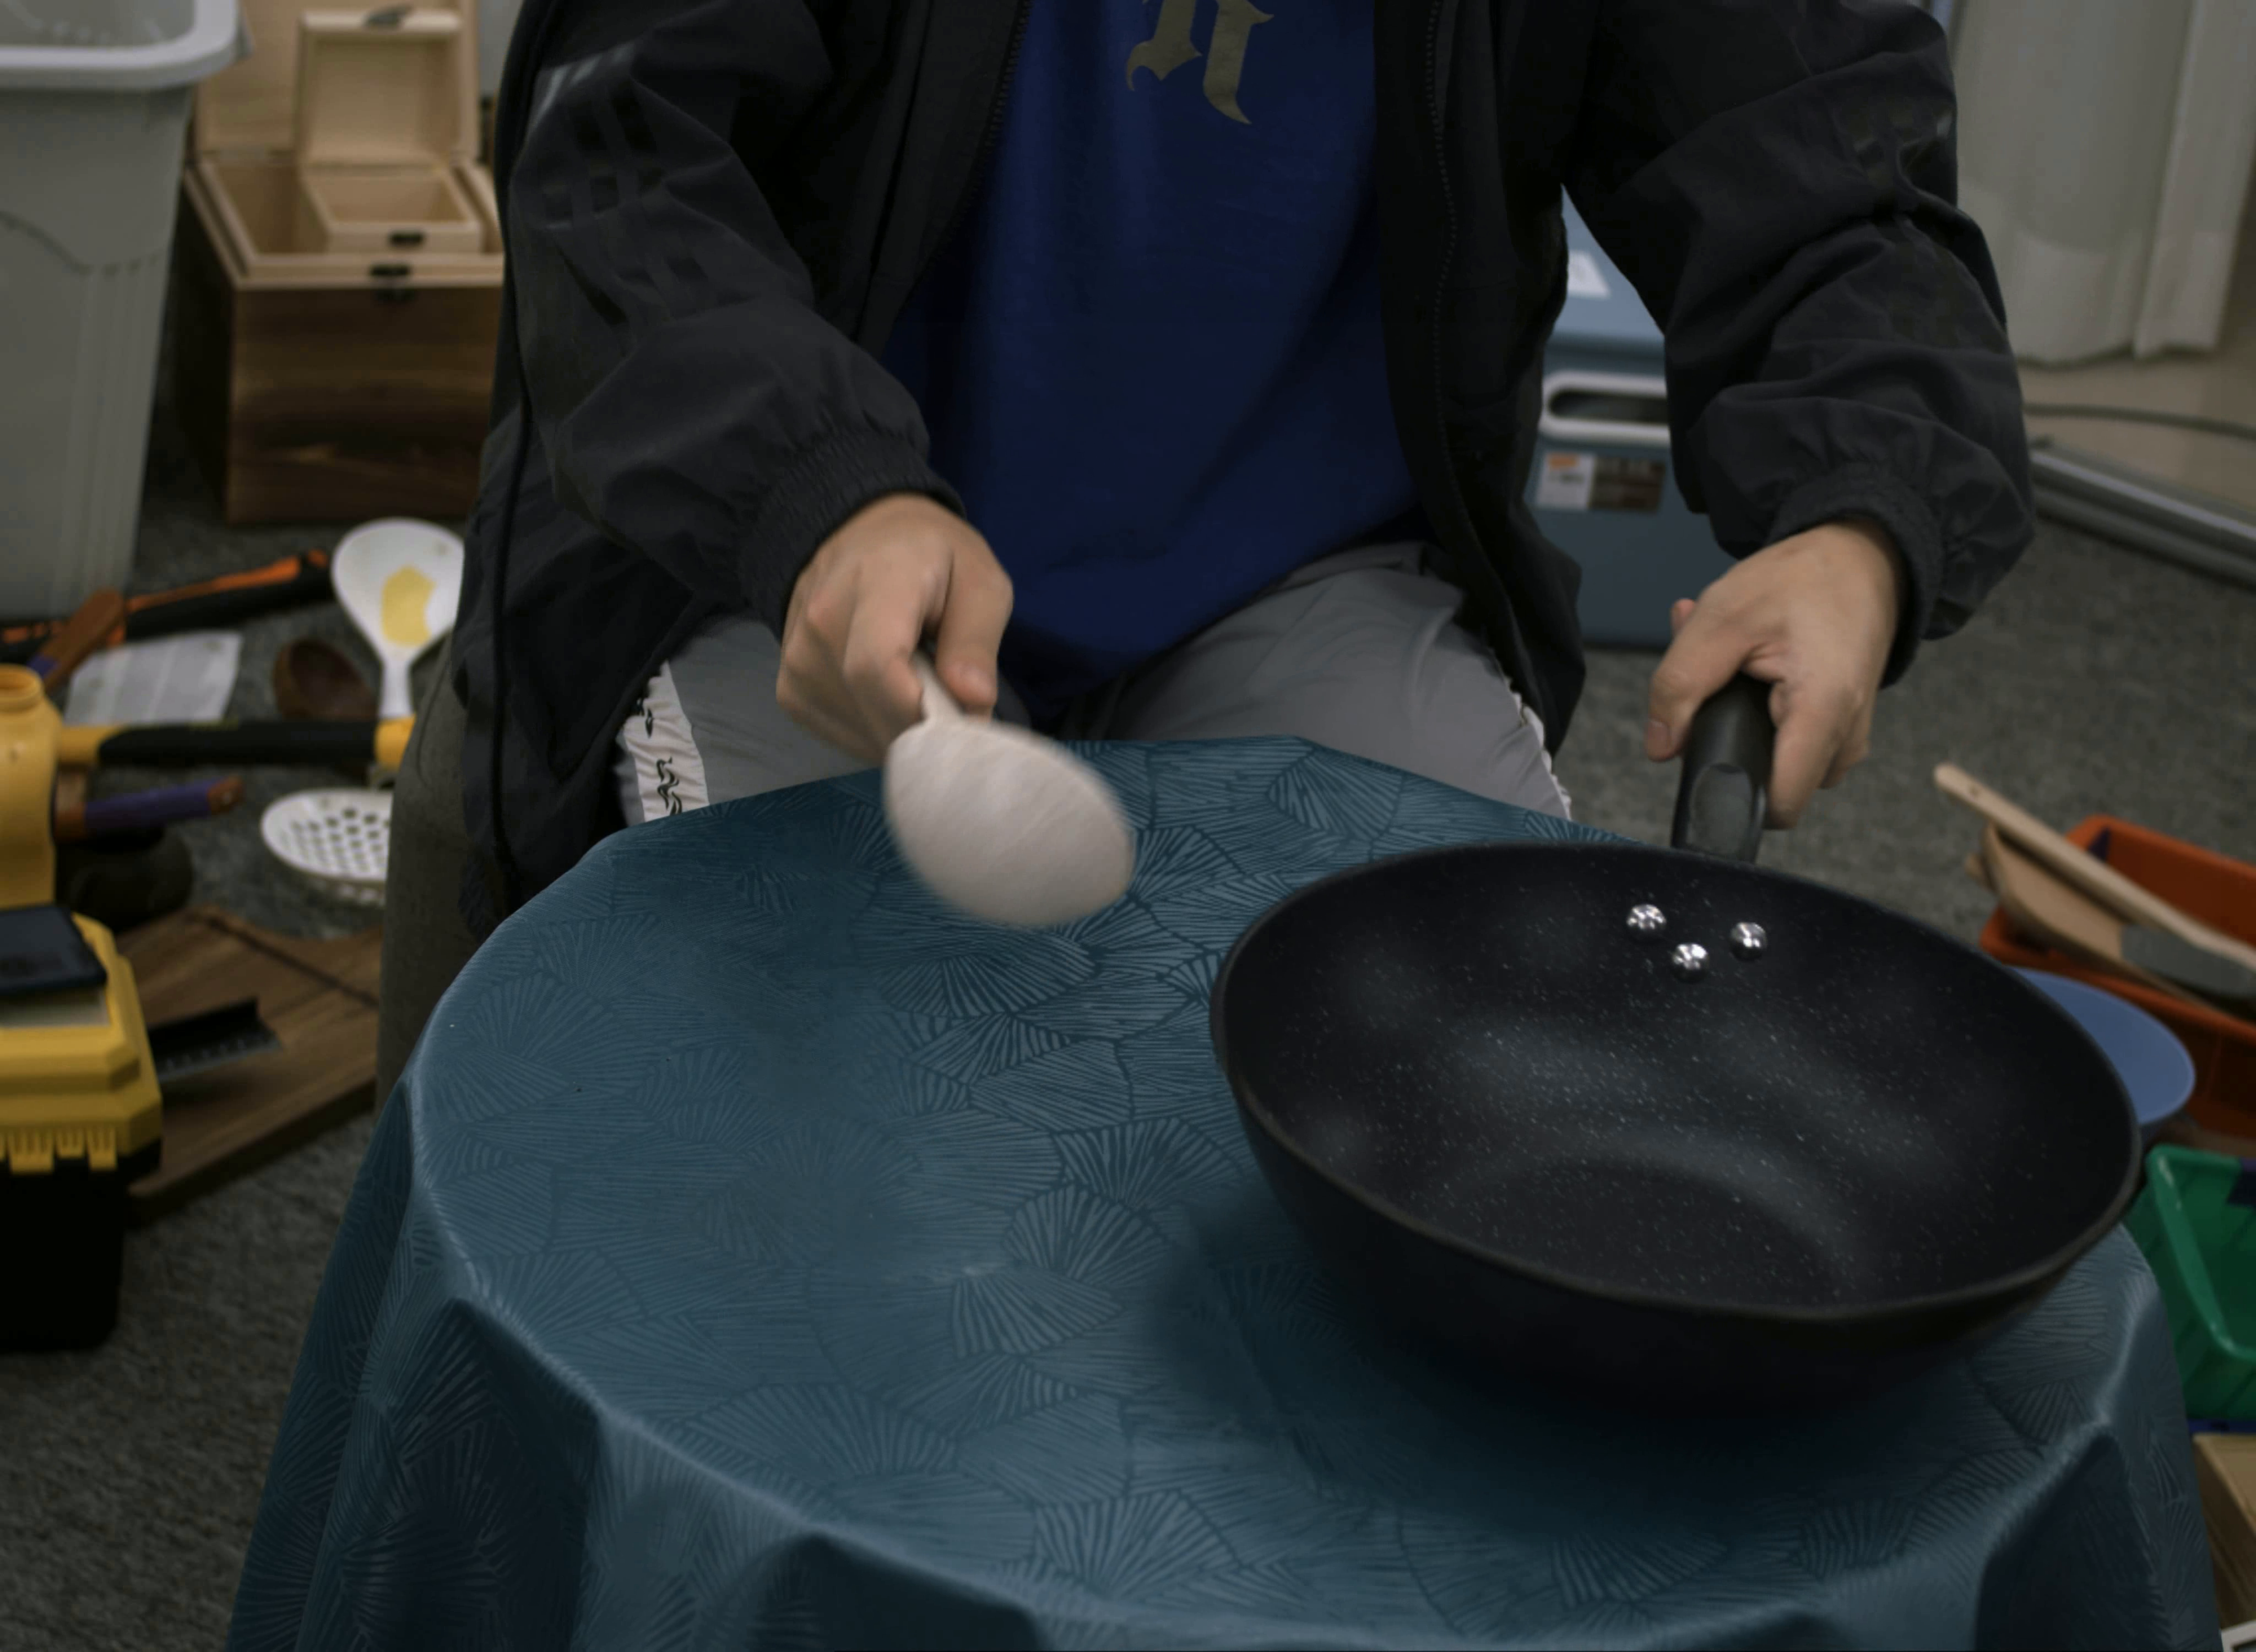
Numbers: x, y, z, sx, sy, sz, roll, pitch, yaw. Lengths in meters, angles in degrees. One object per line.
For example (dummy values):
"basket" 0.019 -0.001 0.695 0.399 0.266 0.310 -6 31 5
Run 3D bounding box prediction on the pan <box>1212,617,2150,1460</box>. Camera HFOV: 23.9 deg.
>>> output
"pan" 0.191 0.074 1.823 0.310 0.111 0.478 12 28 6

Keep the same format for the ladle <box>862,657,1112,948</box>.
"ladle" -0.052 -0.033 1.801 0.089 0.069 0.276 35 15 -15
